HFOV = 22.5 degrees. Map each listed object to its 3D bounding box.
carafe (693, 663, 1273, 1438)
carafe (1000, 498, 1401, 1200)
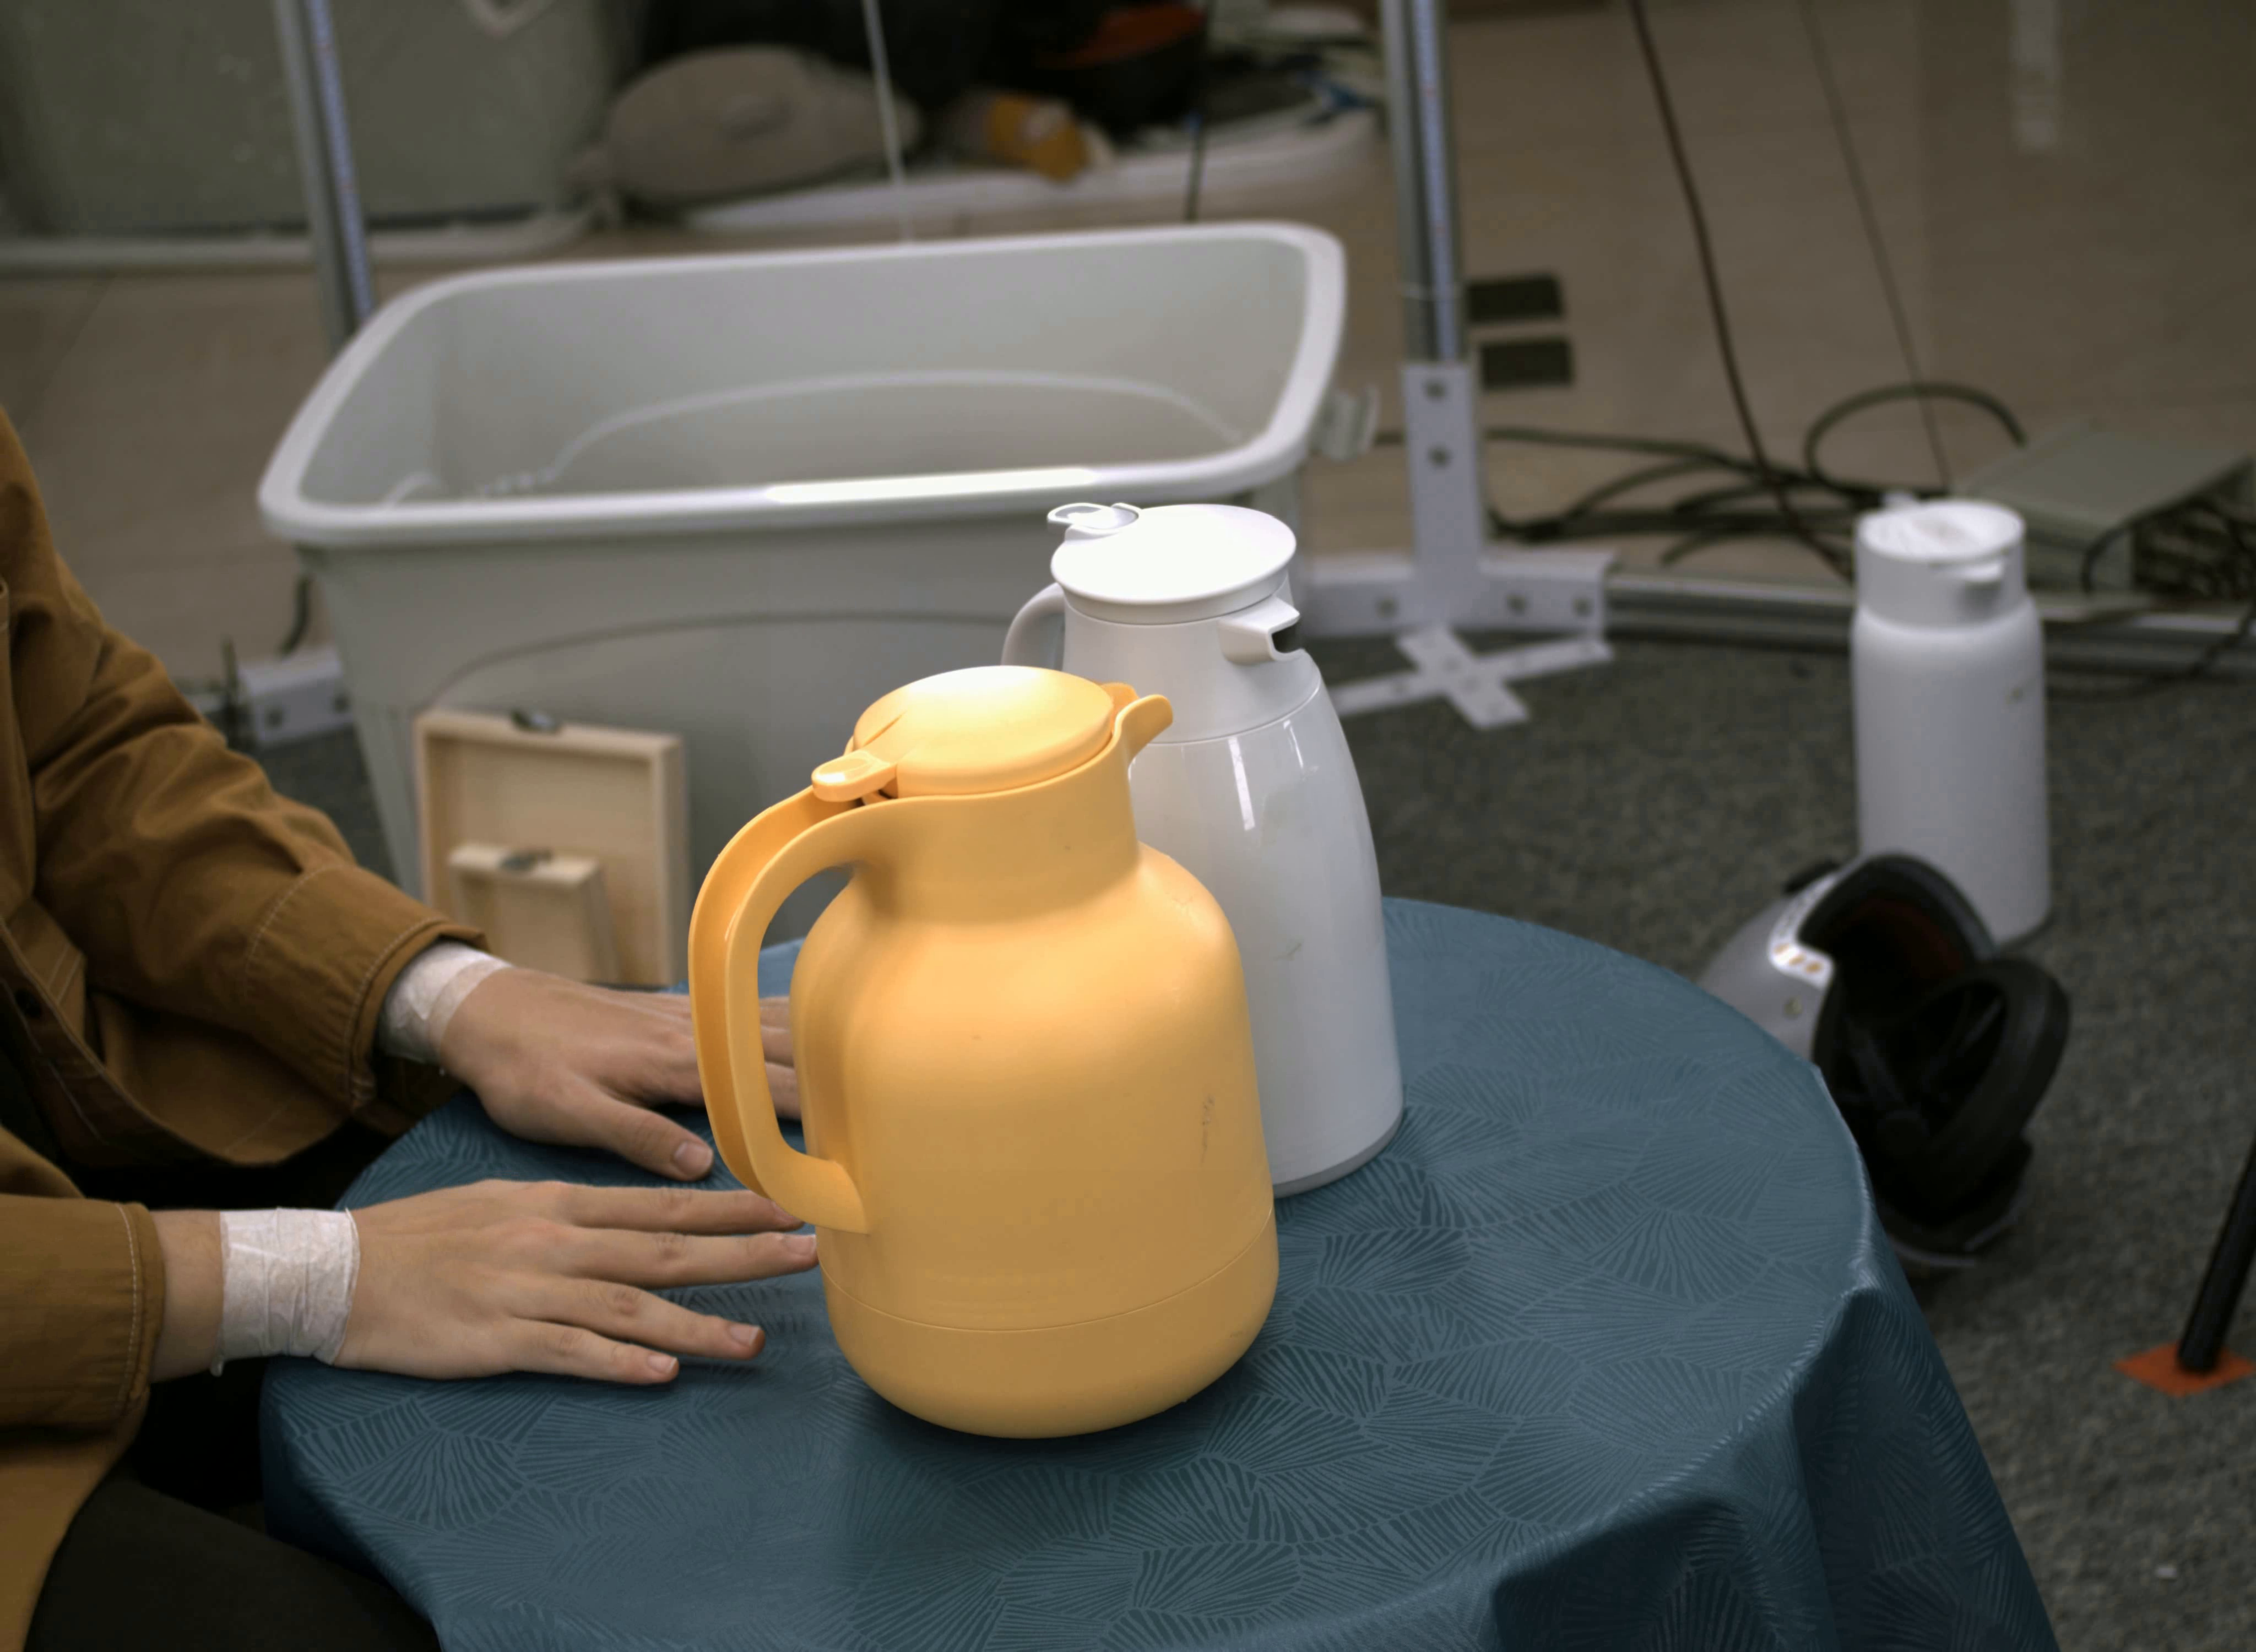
[{"bbox_3d":[-0.054,0.079,1.978,0.201,0.264,0.162,-19,26,-28],"label":"carafe"},{"bbox_3d":[0.015,-0.001,2.147,0.131,0.252,0.166,-26,31,-35],"label":"carafe"}]
